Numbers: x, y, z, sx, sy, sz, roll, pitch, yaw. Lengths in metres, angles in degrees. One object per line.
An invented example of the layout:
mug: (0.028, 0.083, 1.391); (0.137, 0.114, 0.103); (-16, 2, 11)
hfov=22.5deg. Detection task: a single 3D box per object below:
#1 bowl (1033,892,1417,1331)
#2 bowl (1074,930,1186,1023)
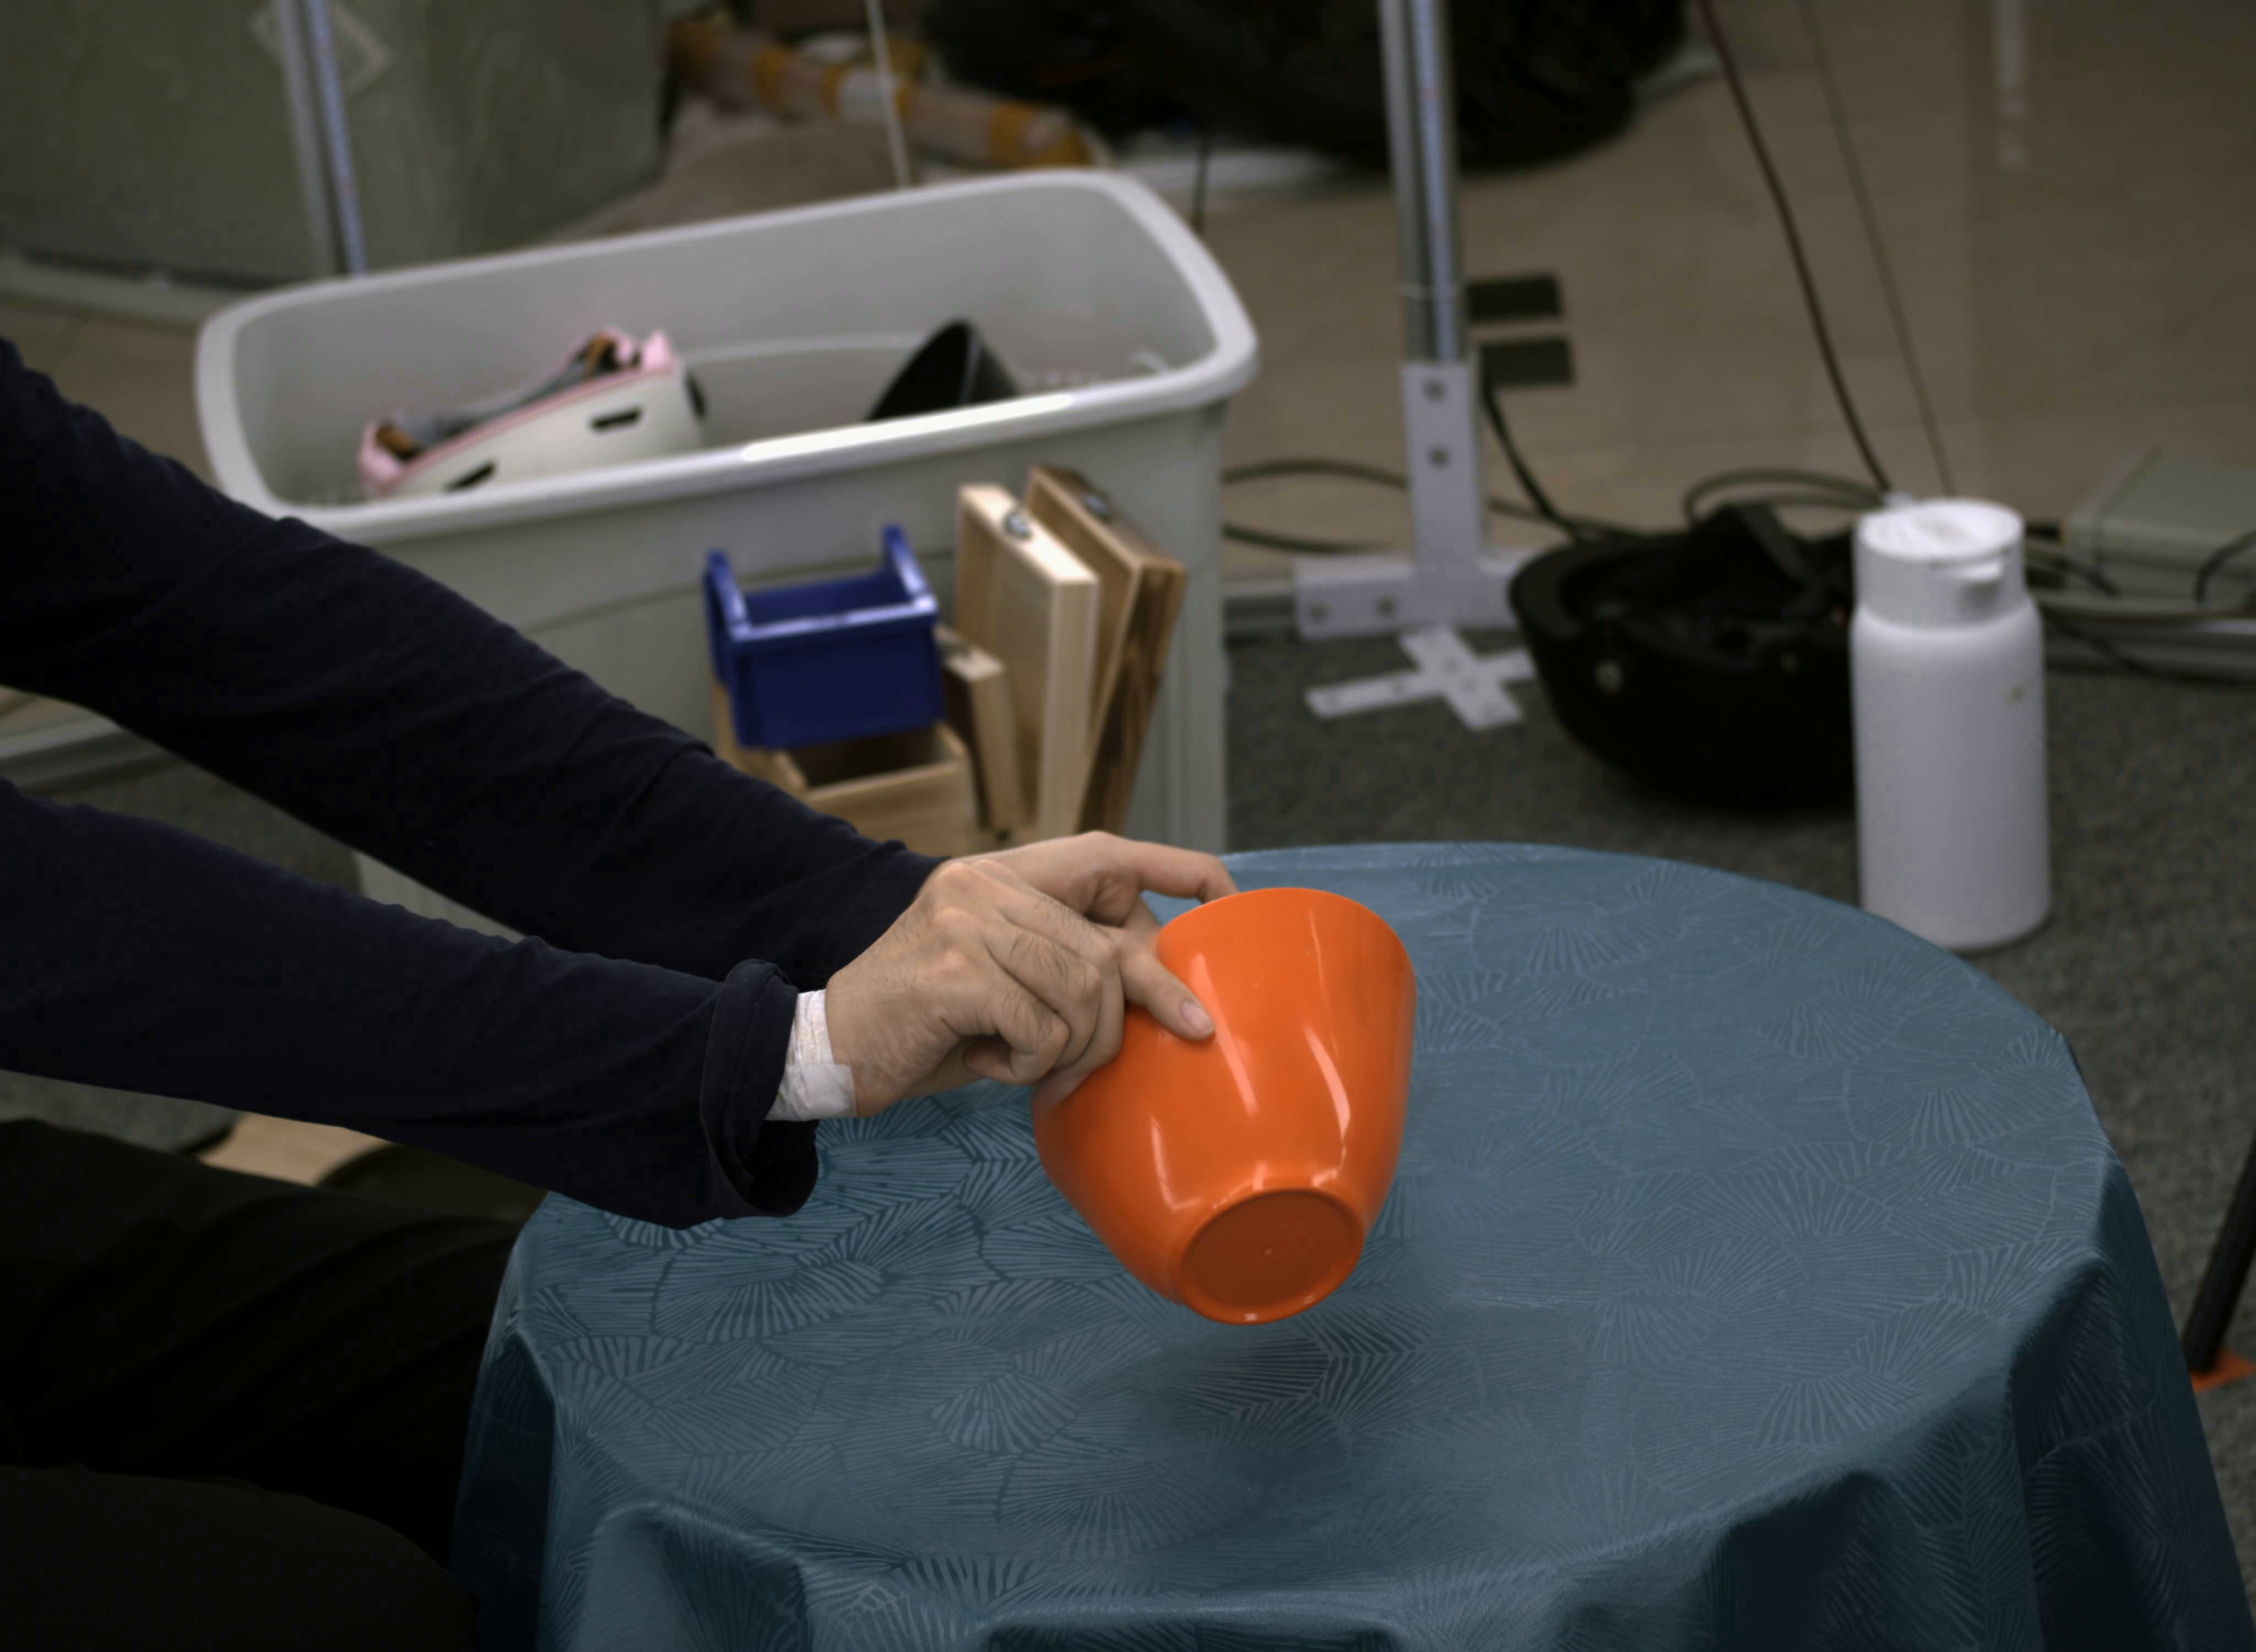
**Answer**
bowl: (0.046, 0.110, 1.964); (0.147, 0.151, 0.103); (-12, 46, -12)
bowl: (0.036, 0.085, 2.197); (0.119, 0.052, 0.117); (-5, 27, 2)
